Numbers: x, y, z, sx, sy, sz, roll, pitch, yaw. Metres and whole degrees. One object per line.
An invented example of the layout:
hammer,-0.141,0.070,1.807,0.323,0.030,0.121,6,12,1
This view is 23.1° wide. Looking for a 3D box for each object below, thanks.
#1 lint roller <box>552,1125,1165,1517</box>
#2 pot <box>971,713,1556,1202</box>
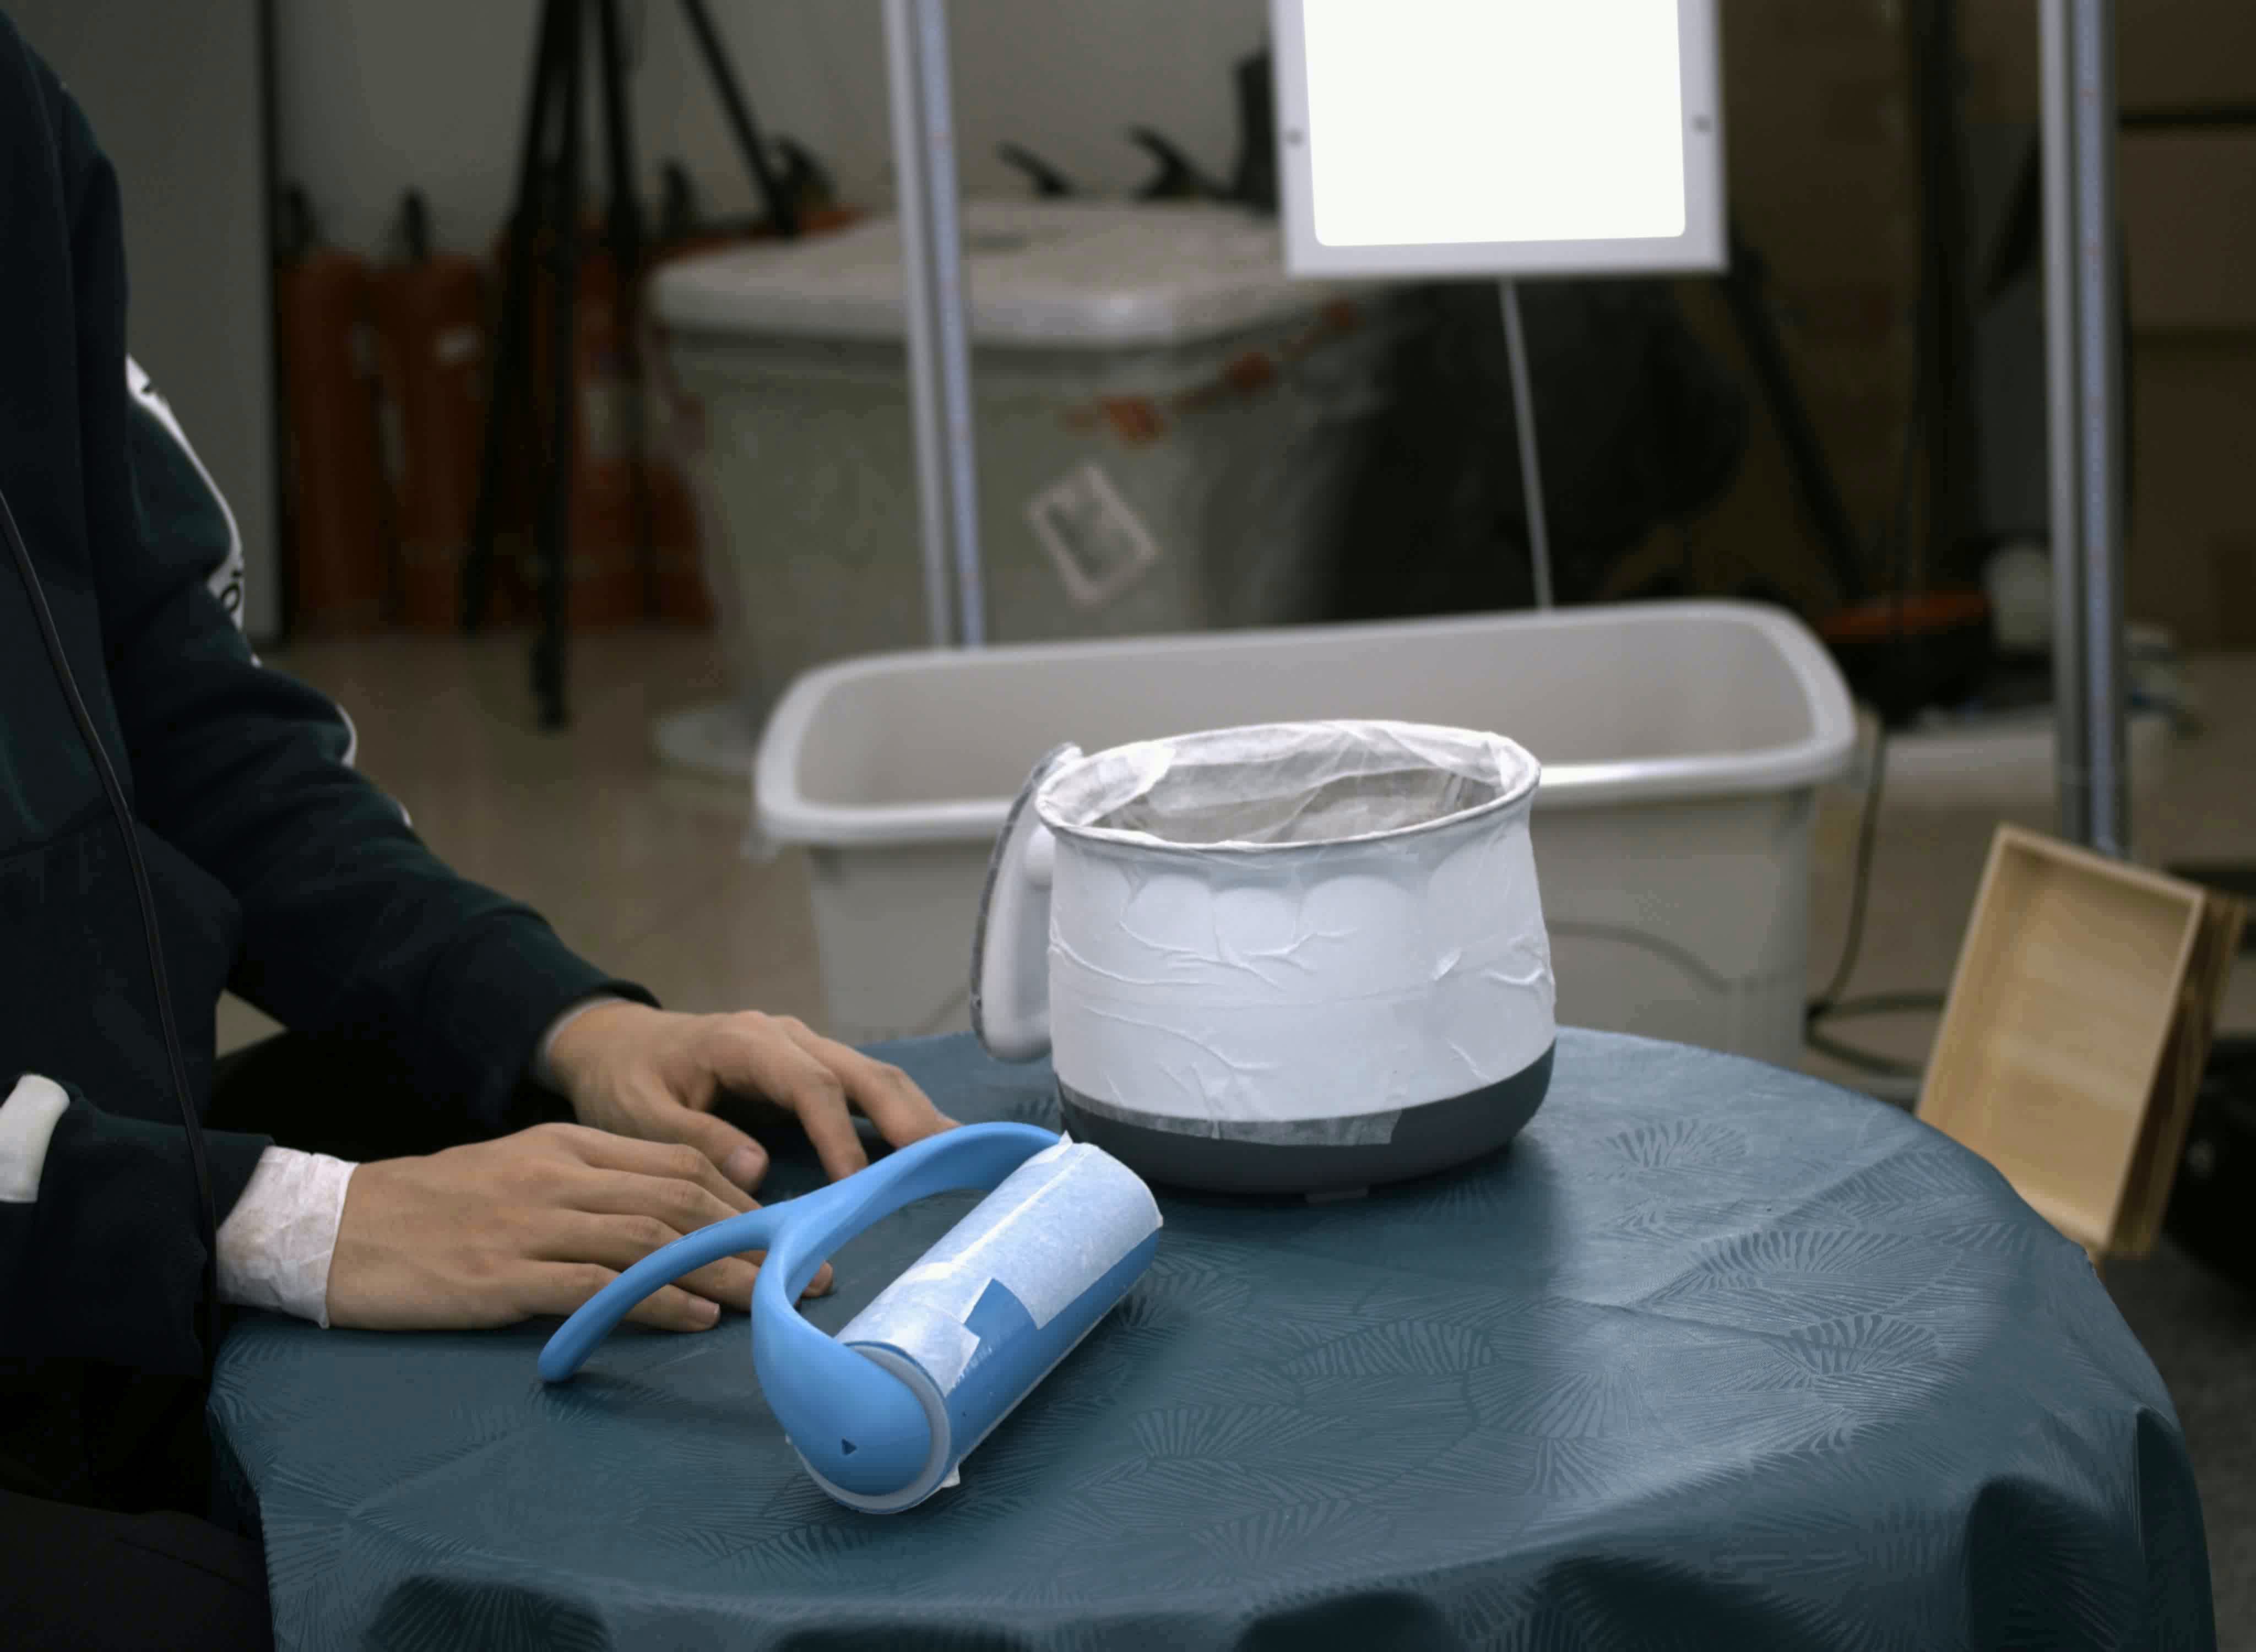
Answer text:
lint roller,-0.098,0.151,1.713,0.182,0.068,0.225,0,16,16
pot,0.038,0.041,1.931,0.238,0.137,0.174,8,19,38
